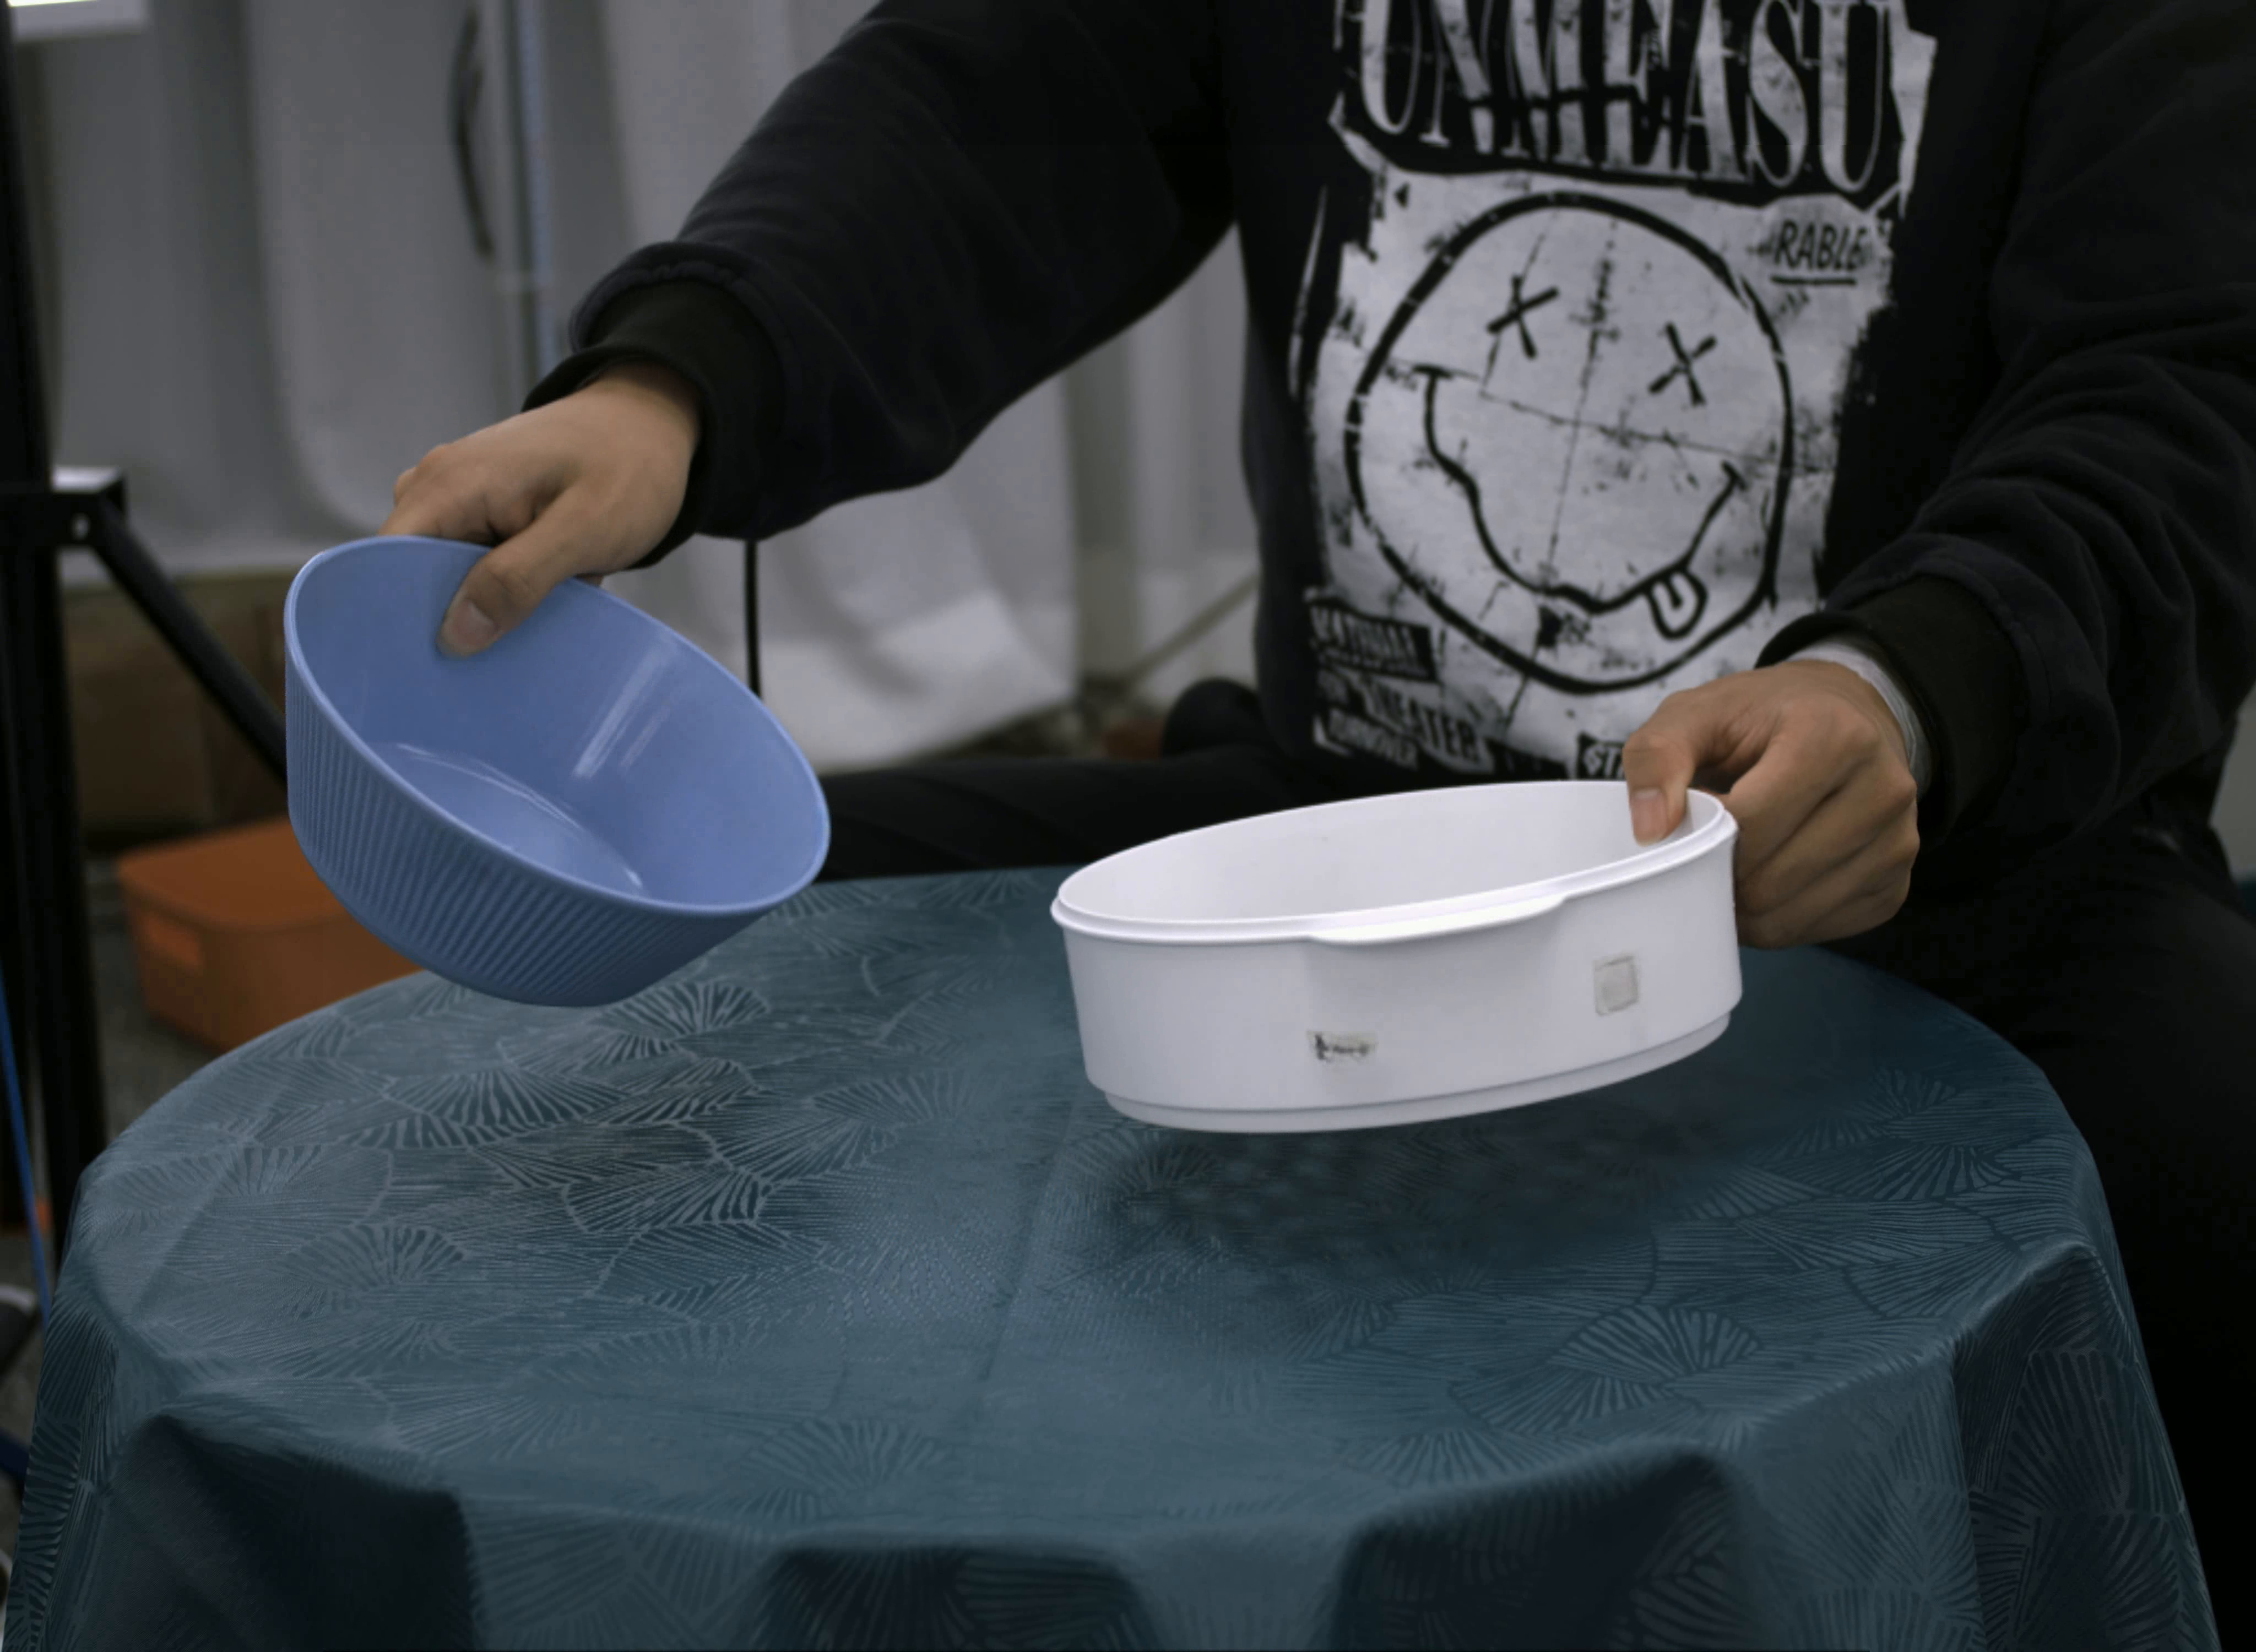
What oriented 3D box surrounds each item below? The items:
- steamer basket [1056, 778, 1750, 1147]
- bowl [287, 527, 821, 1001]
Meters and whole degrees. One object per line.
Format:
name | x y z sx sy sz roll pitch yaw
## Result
steamer basket | 0.082 0.040 1.543 0.200 0.069 0.232 -8 11 -3
bowl | -0.183 -0.009 1.589 0.173 0.071 0.177 25 26 -15
